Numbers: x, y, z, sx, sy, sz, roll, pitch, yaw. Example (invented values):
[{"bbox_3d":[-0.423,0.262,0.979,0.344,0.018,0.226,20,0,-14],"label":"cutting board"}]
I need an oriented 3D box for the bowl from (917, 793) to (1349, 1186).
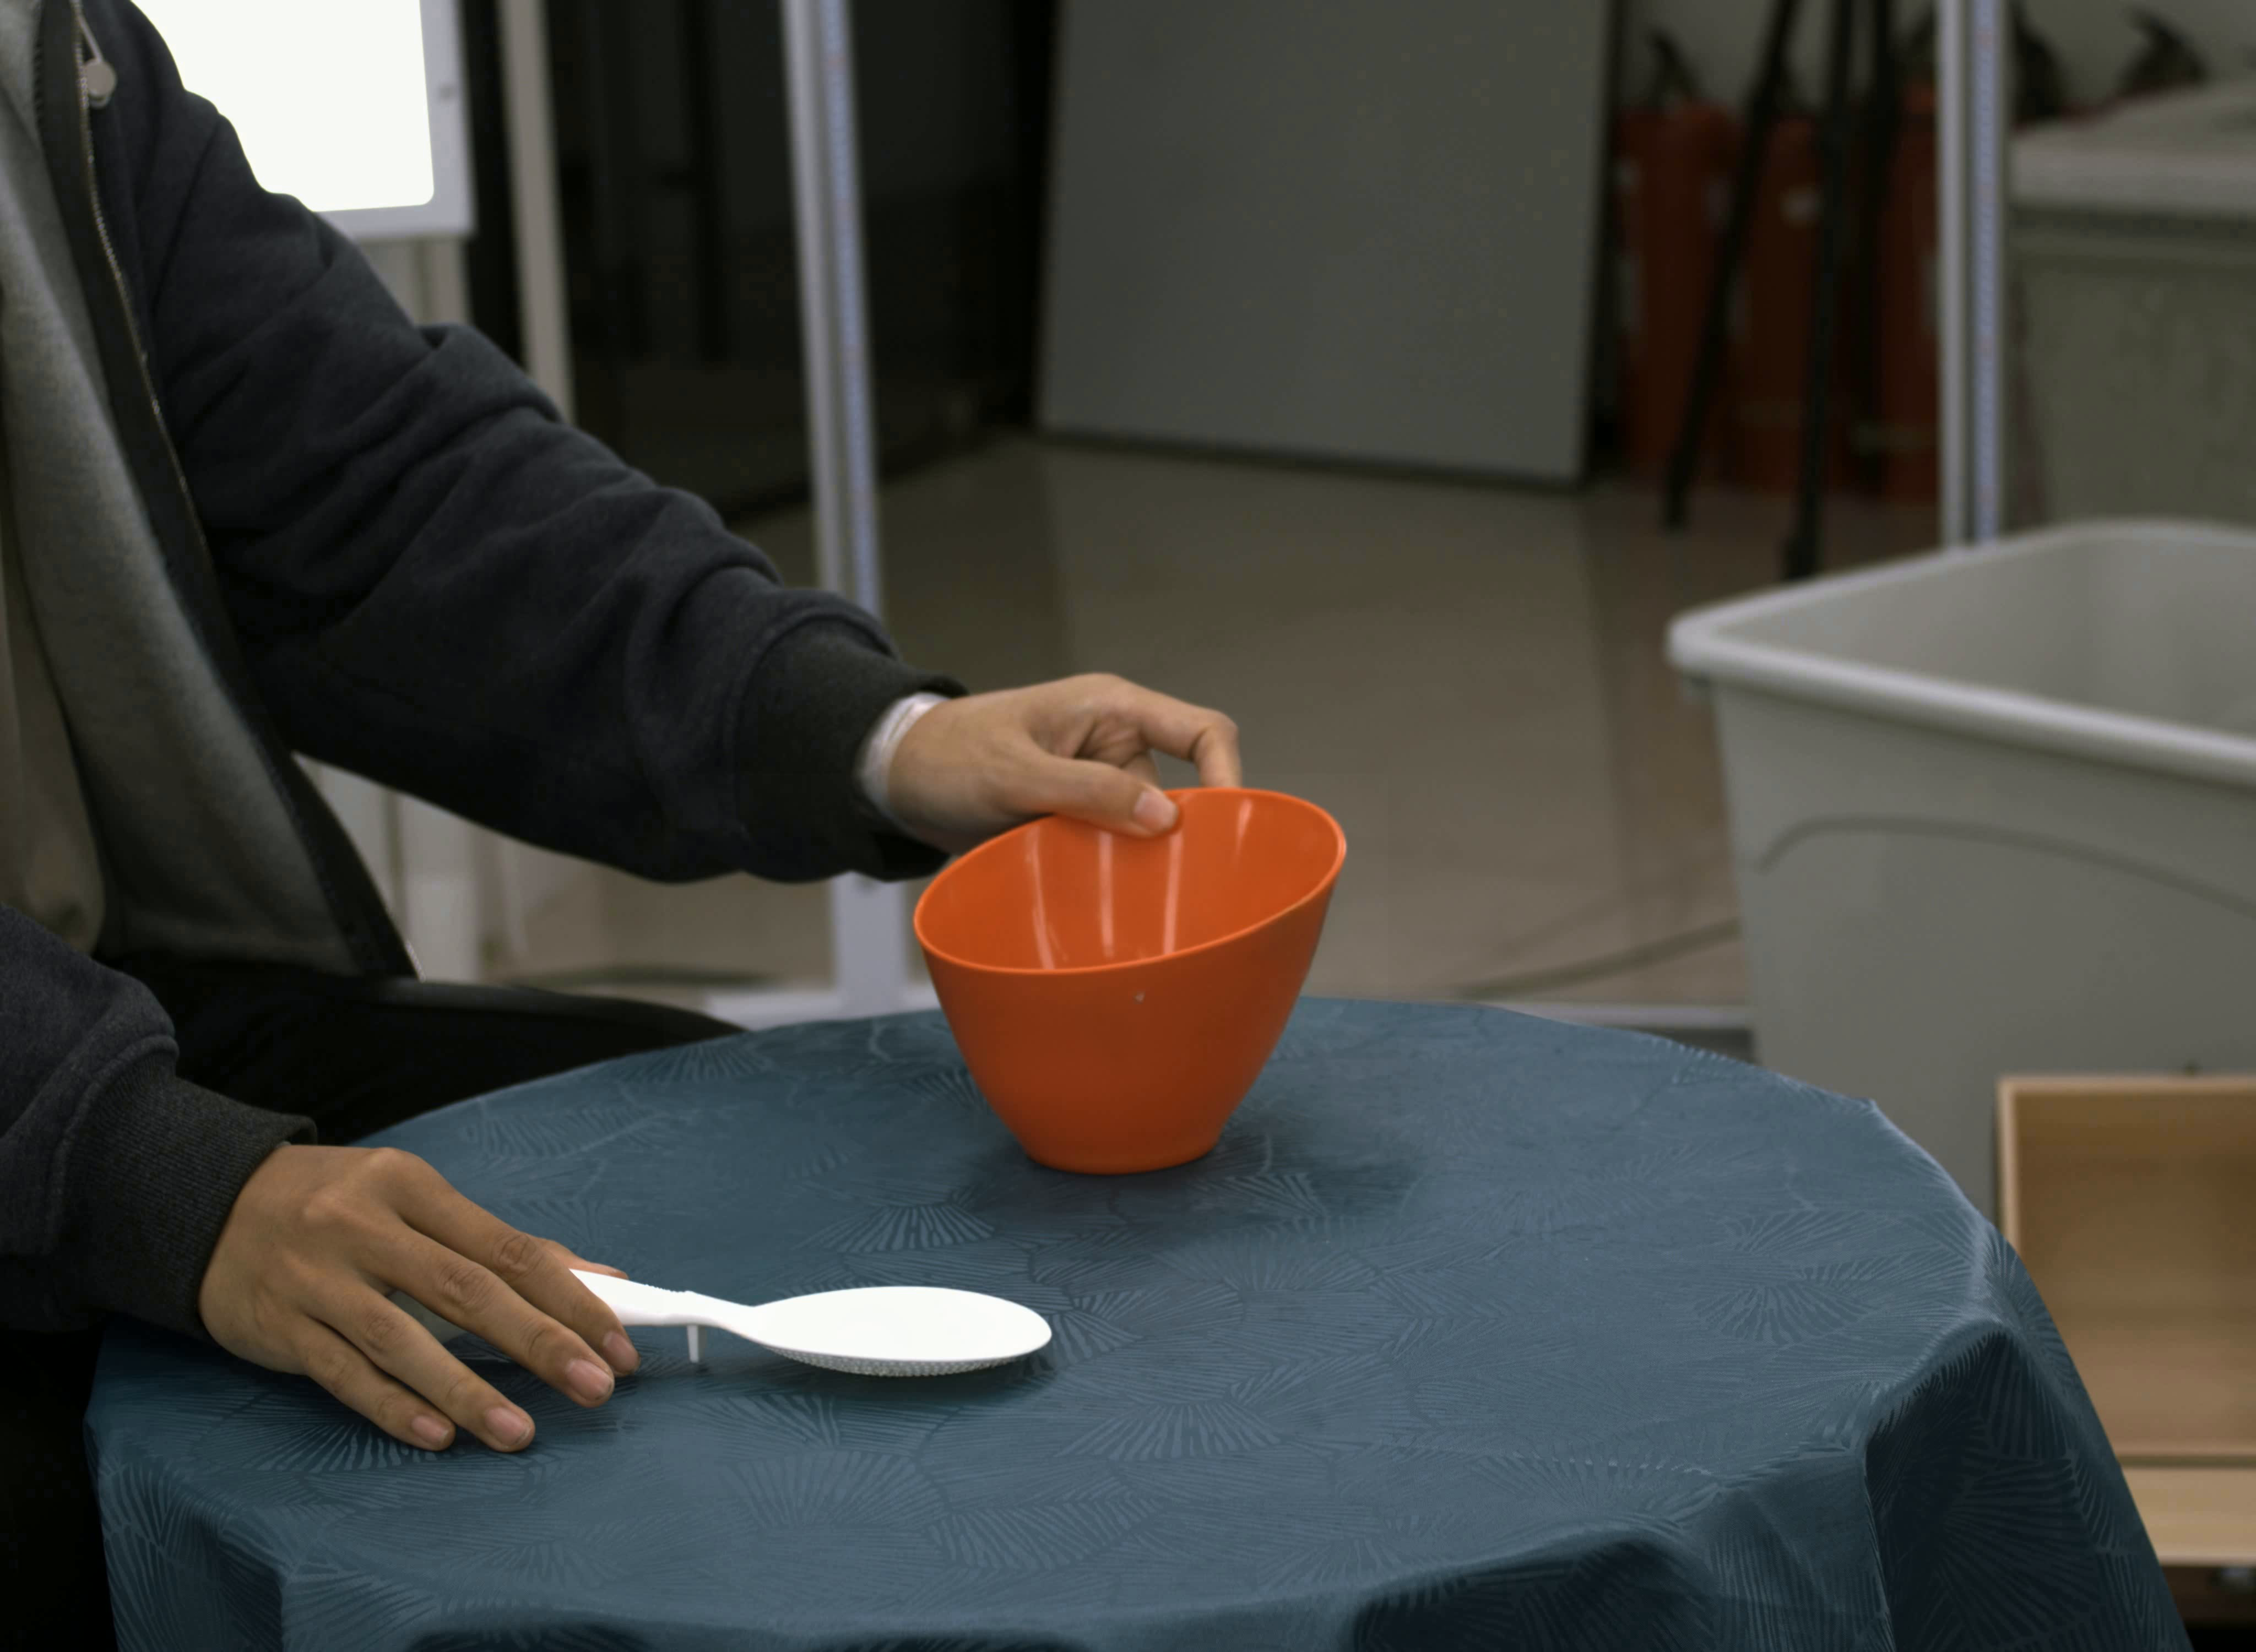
[{"bbox_3d":[0.004,0.058,1.811,0.146,0.106,0.148,-4,15,0],"label":"bowl"}]

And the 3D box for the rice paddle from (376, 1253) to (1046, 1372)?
[{"bbox_3d":[-0.124,0.146,1.624,0.203,0.030,0.068,1,13,10],"label":"rice paddle"}]
